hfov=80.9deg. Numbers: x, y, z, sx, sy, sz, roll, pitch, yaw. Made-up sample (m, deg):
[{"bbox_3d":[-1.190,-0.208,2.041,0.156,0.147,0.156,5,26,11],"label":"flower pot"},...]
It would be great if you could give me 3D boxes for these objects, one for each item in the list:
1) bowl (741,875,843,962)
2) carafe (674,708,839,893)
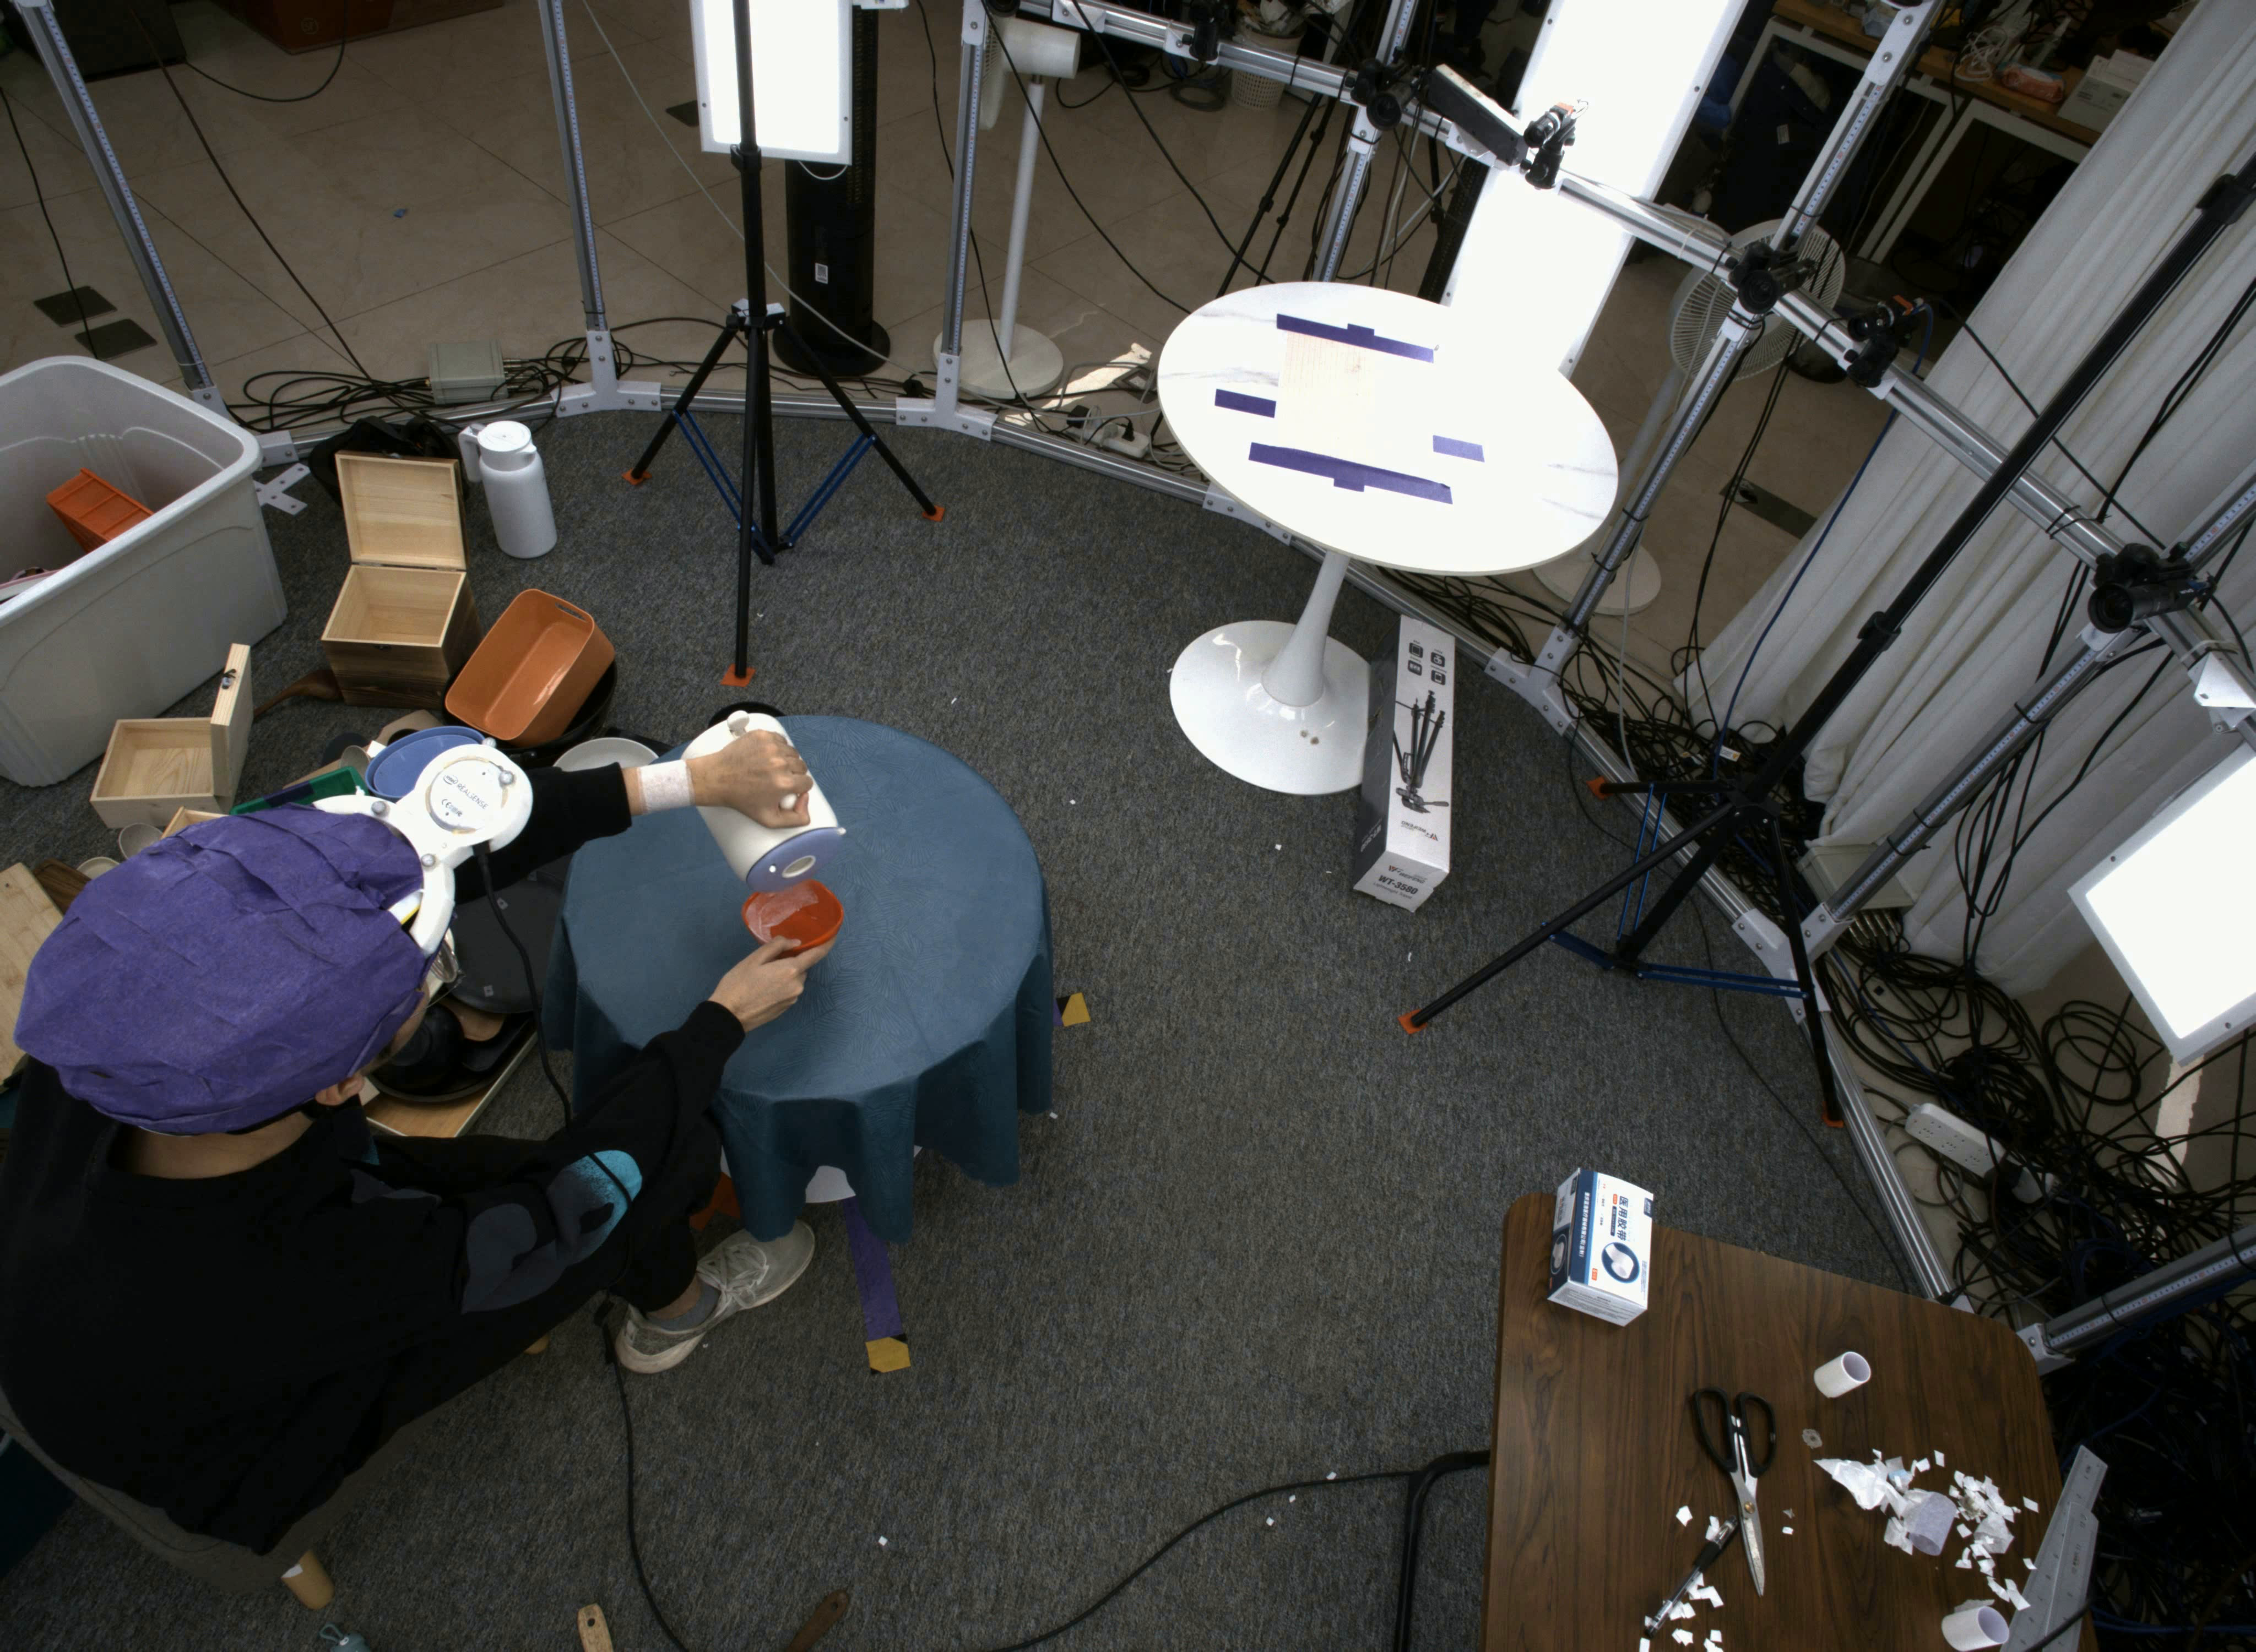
[{"bbox_3d":[-0.402,0.116,1.552,0.118,0.052,0.116,10,44,-8],"label":"bowl"},{"bbox_3d":[-0.418,-0.041,1.456,0.132,0.193,0.180,-29,73,-27],"label":"carafe"}]
